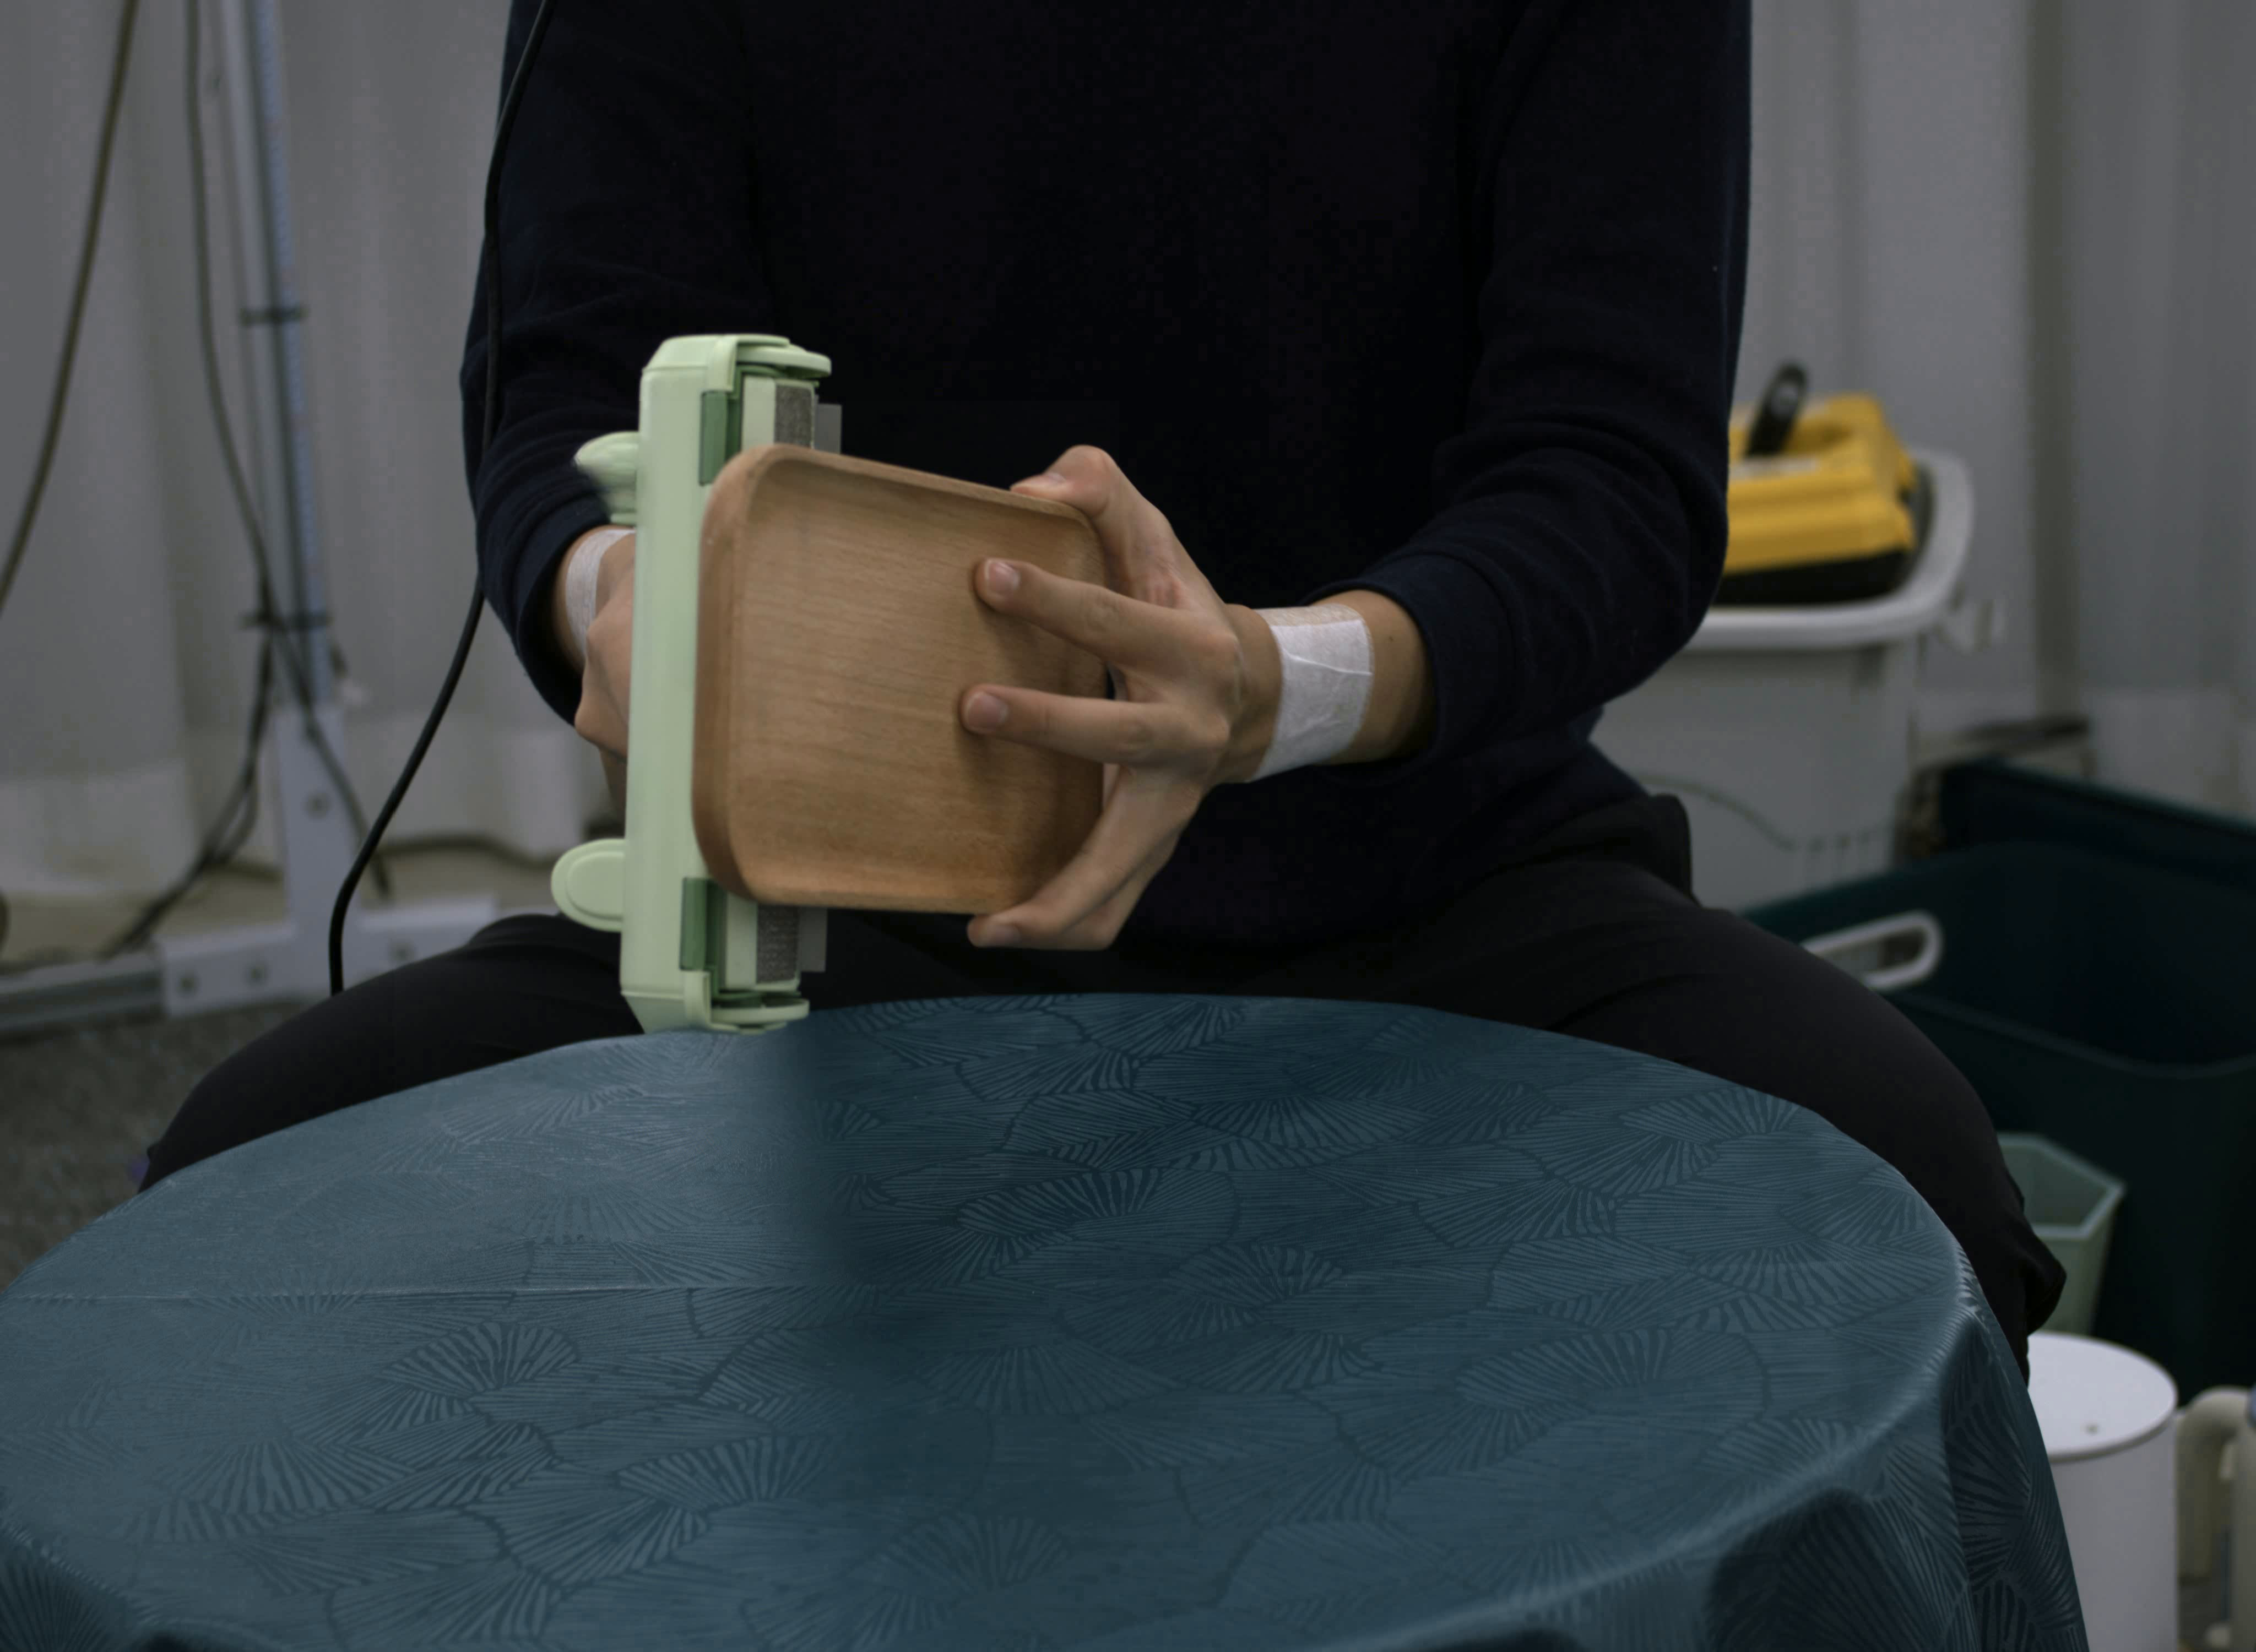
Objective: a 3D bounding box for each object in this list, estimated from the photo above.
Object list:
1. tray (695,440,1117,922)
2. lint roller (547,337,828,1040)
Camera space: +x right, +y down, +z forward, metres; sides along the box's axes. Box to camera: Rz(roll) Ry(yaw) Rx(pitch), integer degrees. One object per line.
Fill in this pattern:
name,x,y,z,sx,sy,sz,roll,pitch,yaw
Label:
tray,-0.061,-0.039,1.584,0.023,0.131,0.249,3,-2,23
lint roller,-0.135,-0.039,1.607,0.082,0.199,0.183,3,-2,-15
